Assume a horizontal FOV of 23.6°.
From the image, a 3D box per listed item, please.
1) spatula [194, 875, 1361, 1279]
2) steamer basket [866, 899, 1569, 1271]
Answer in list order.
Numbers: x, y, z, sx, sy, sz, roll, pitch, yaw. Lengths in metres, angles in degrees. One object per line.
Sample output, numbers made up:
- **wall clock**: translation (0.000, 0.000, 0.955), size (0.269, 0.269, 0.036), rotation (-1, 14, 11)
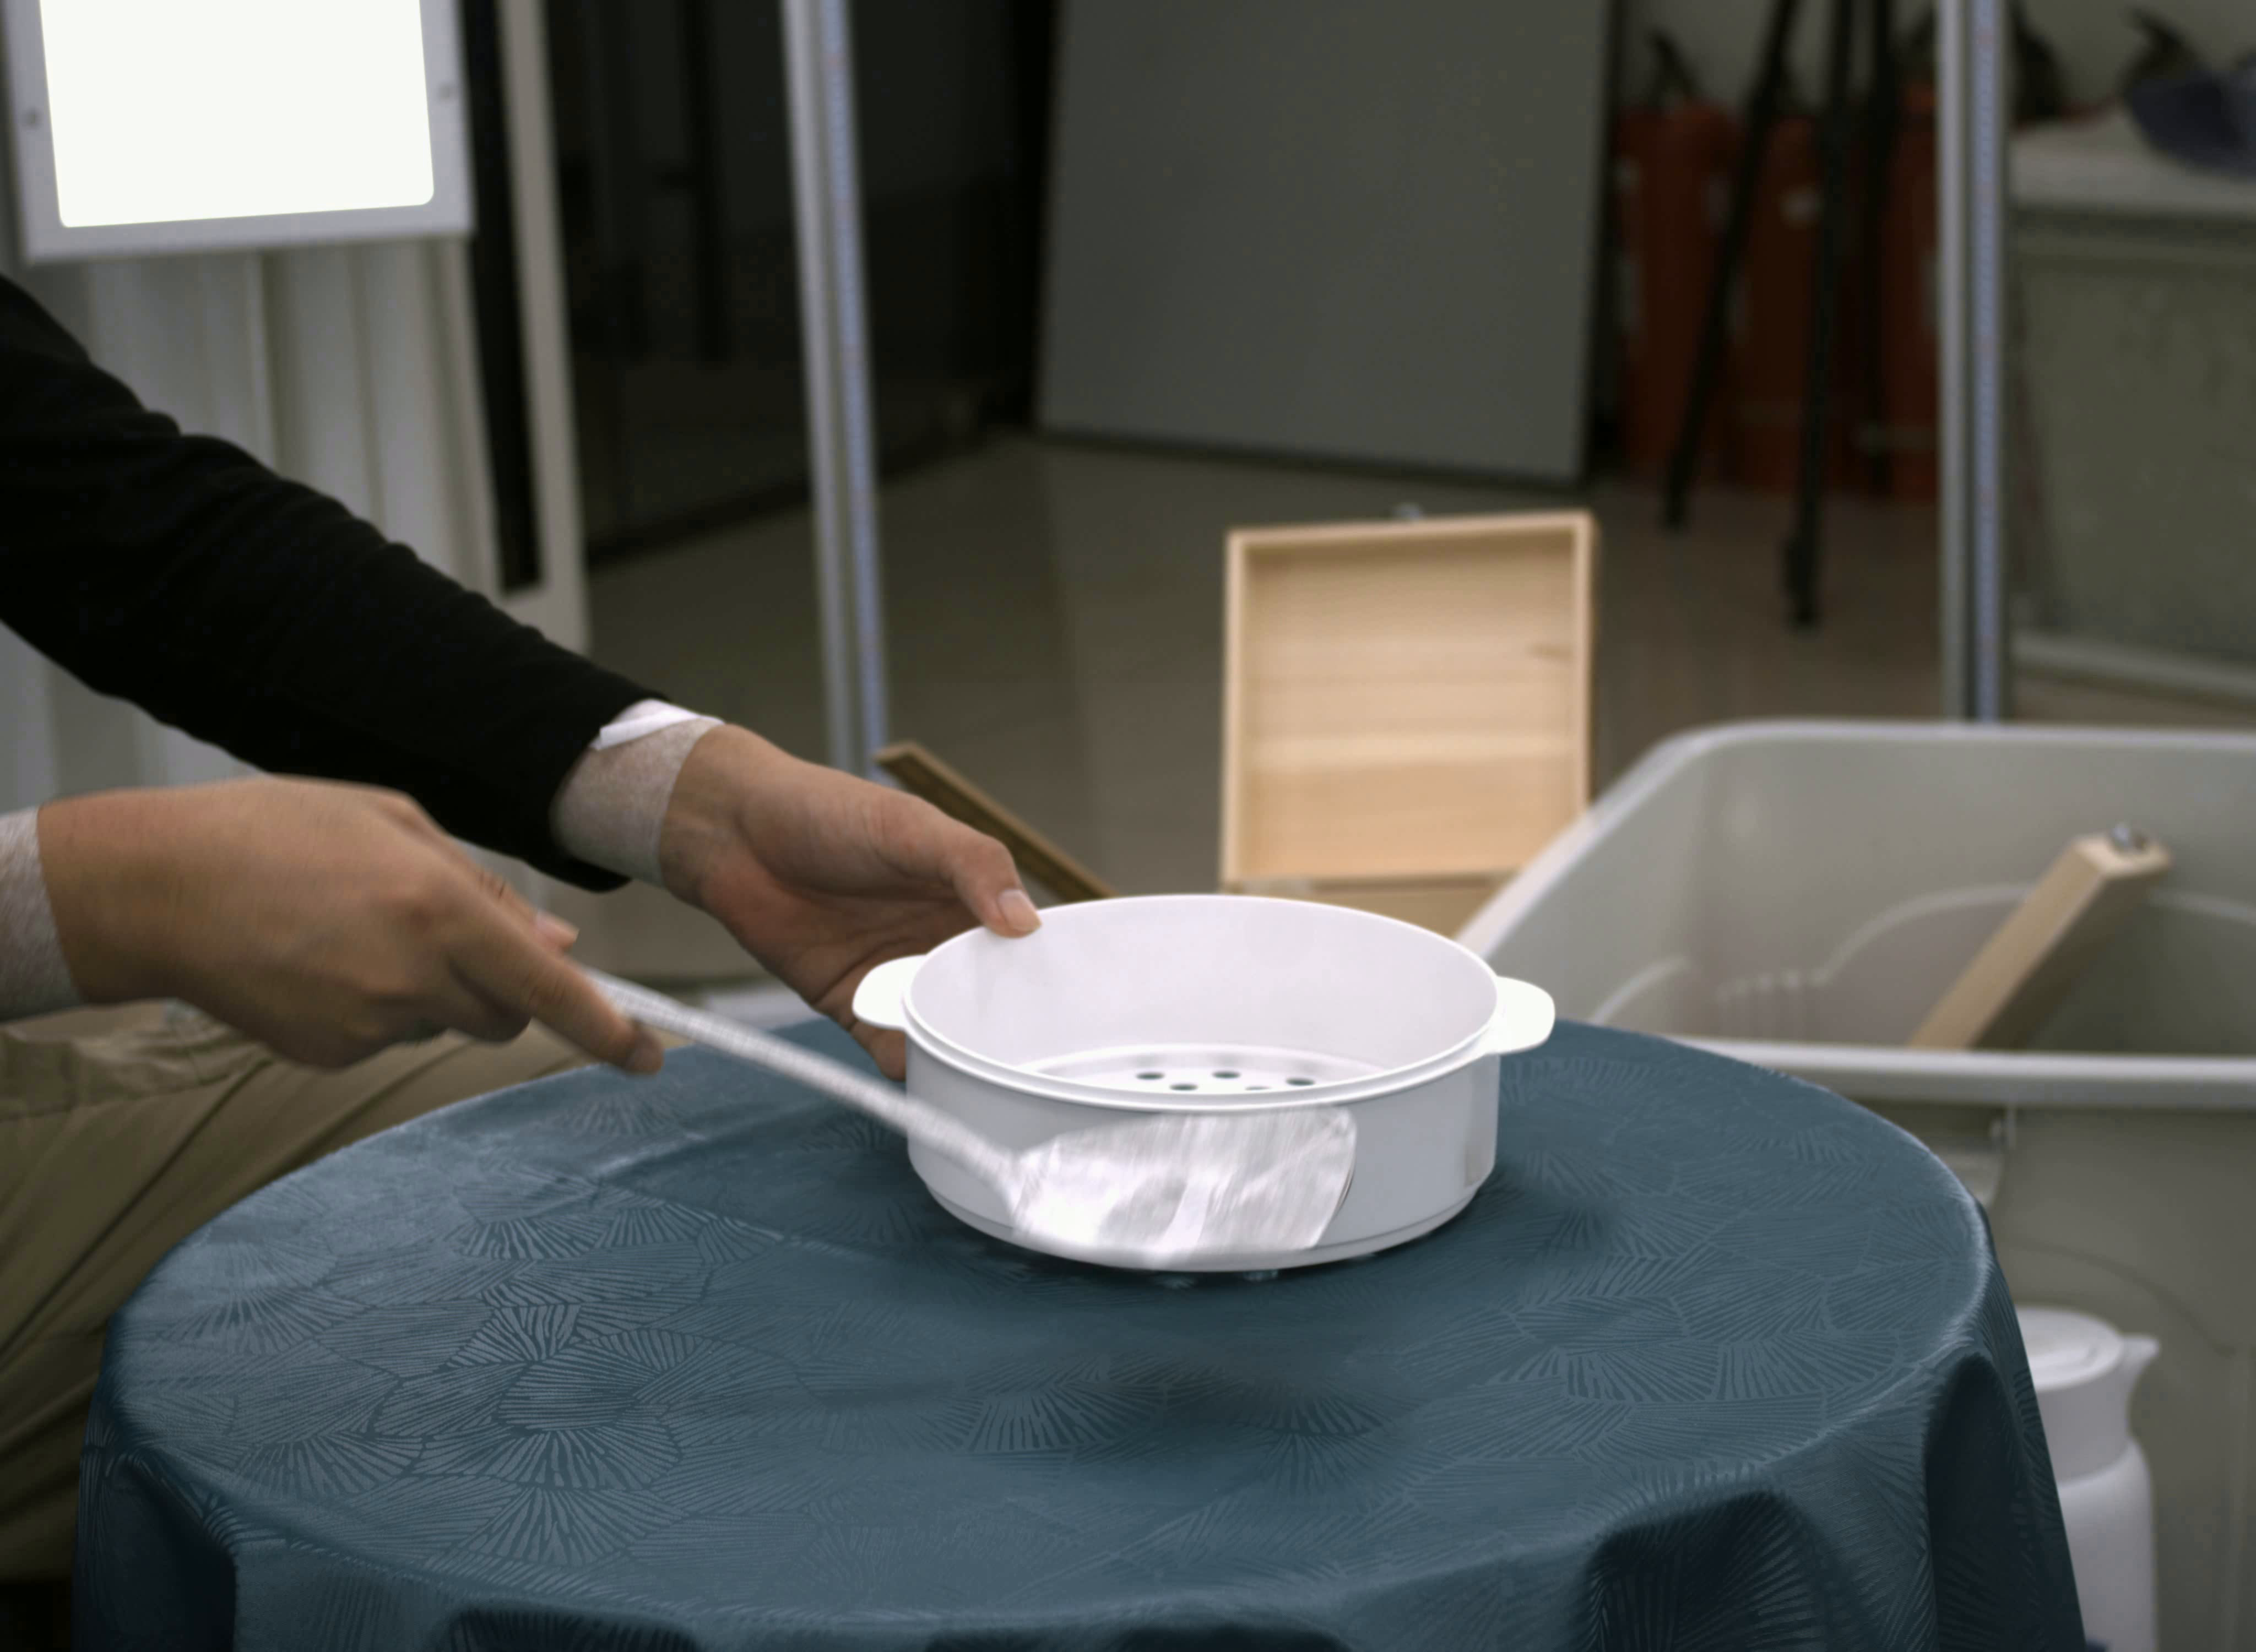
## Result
- **spatula**: translation (-0.109, 0.065, 1.590), size (0.362, 0.045, 0.098), rotation (20, 29, 7)
- **steamer basket**: translation (0.029, 0.083, 1.749), size (0.228, 0.070, 0.201), rotation (1, 16, 8)
